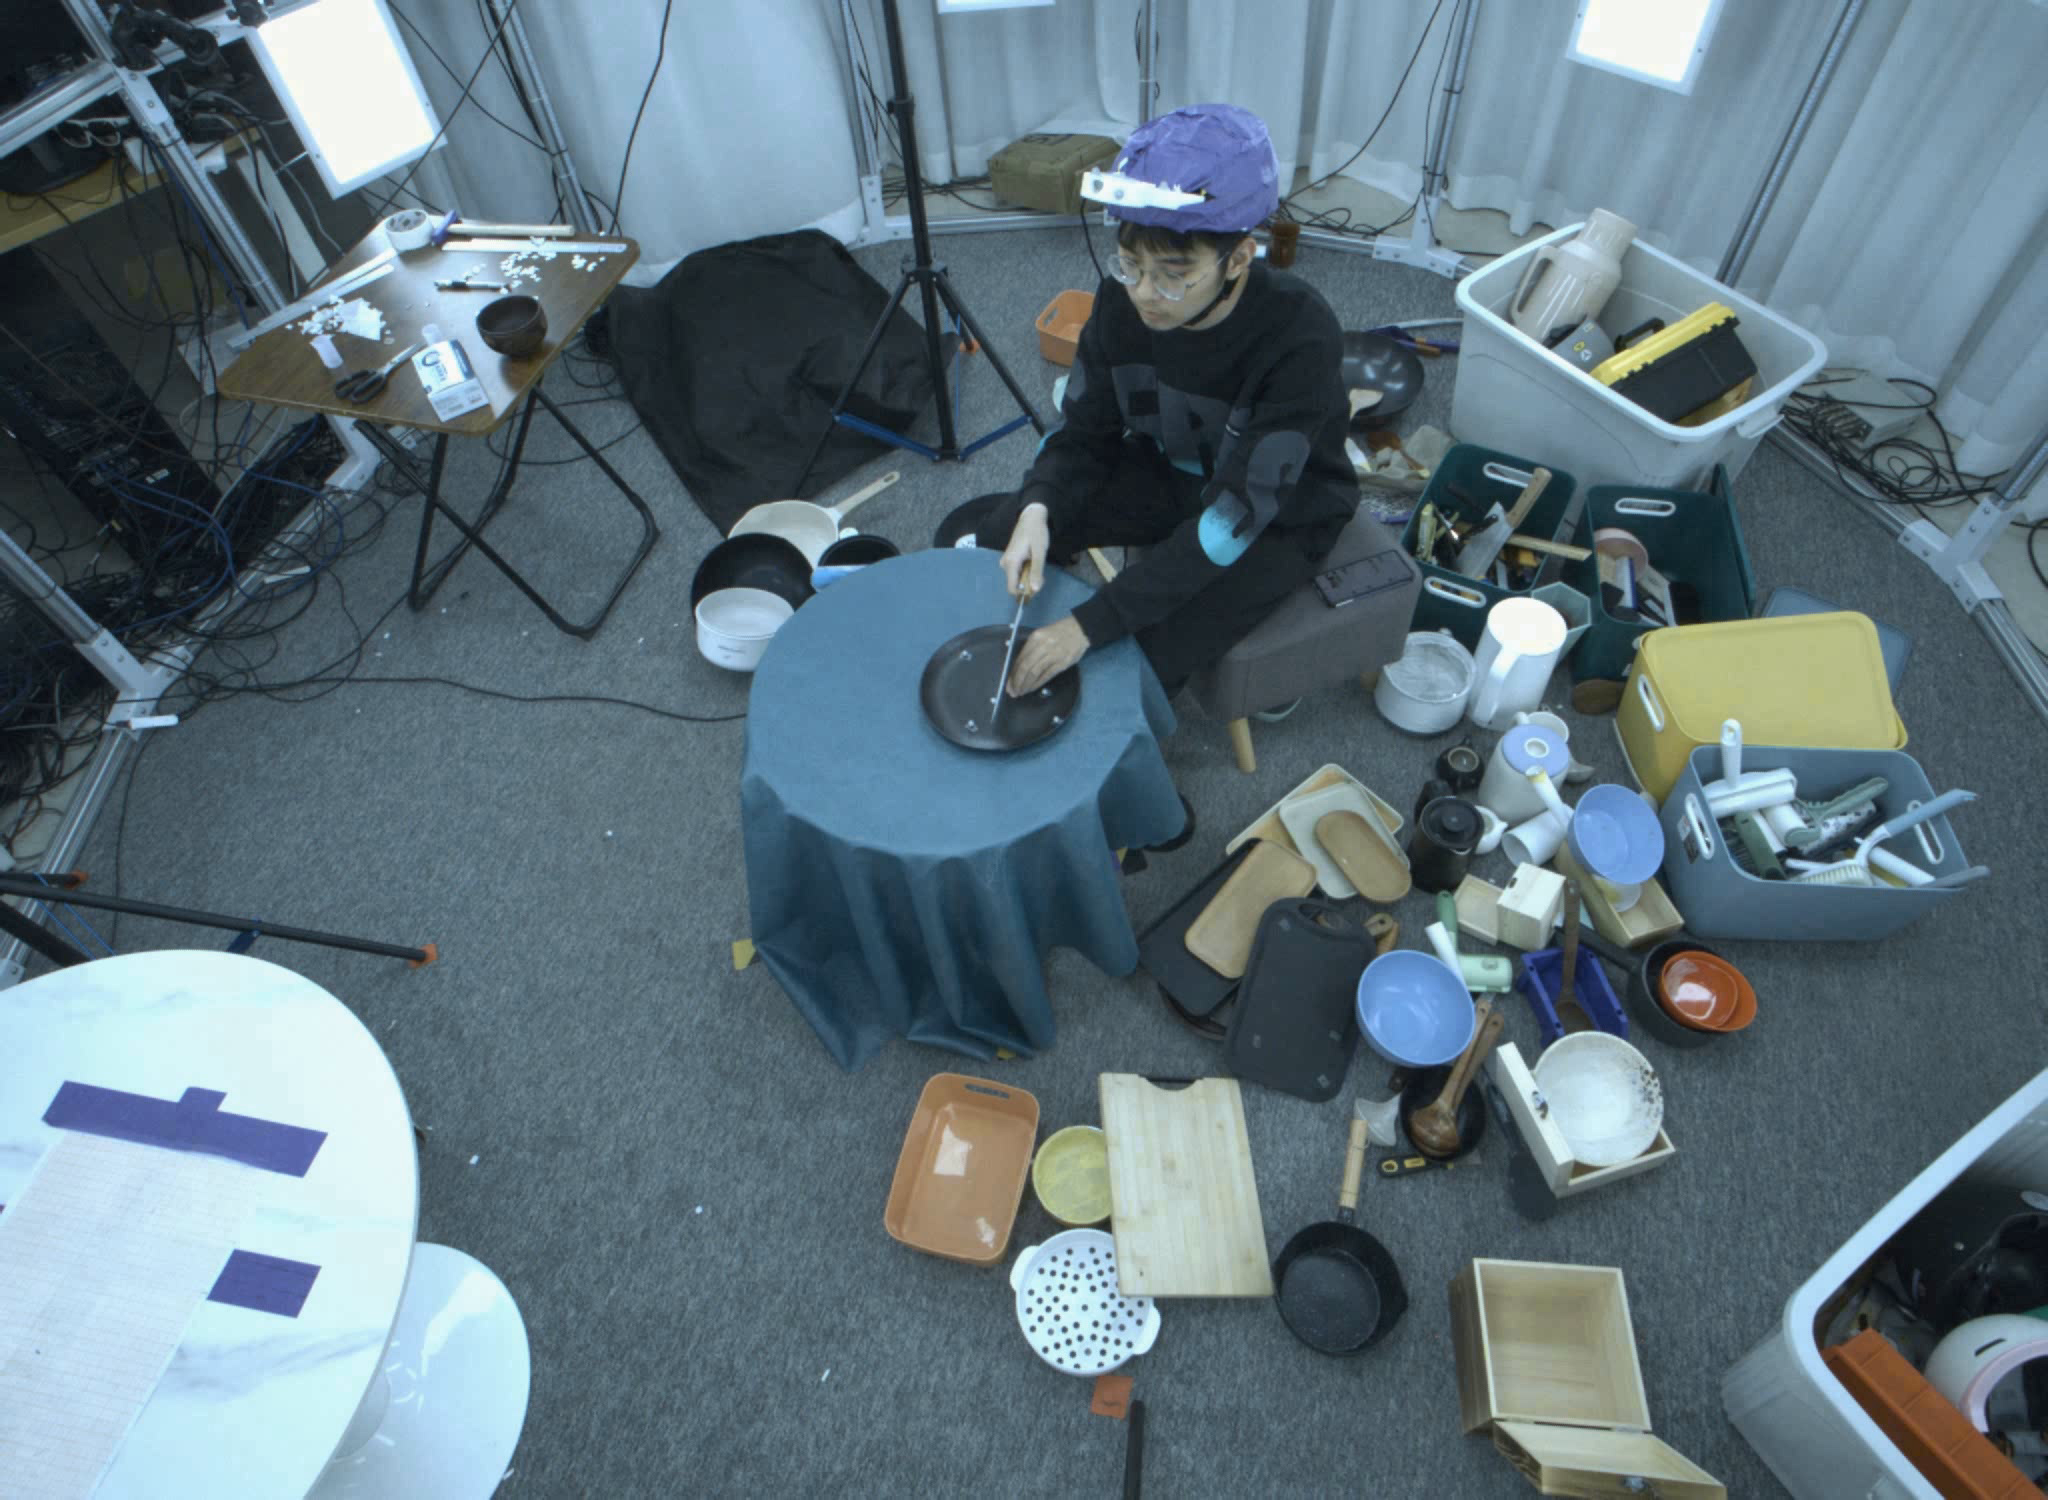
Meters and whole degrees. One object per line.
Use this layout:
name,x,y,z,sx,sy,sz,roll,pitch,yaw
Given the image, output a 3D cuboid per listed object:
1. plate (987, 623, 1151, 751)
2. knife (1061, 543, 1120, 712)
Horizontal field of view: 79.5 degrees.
plate,0.067,-0.092,1.835,0.244,0.024,0.242,0,55,2
knife,0.094,-0.180,1.815,0.021,0.093,0.304,18,53,0
